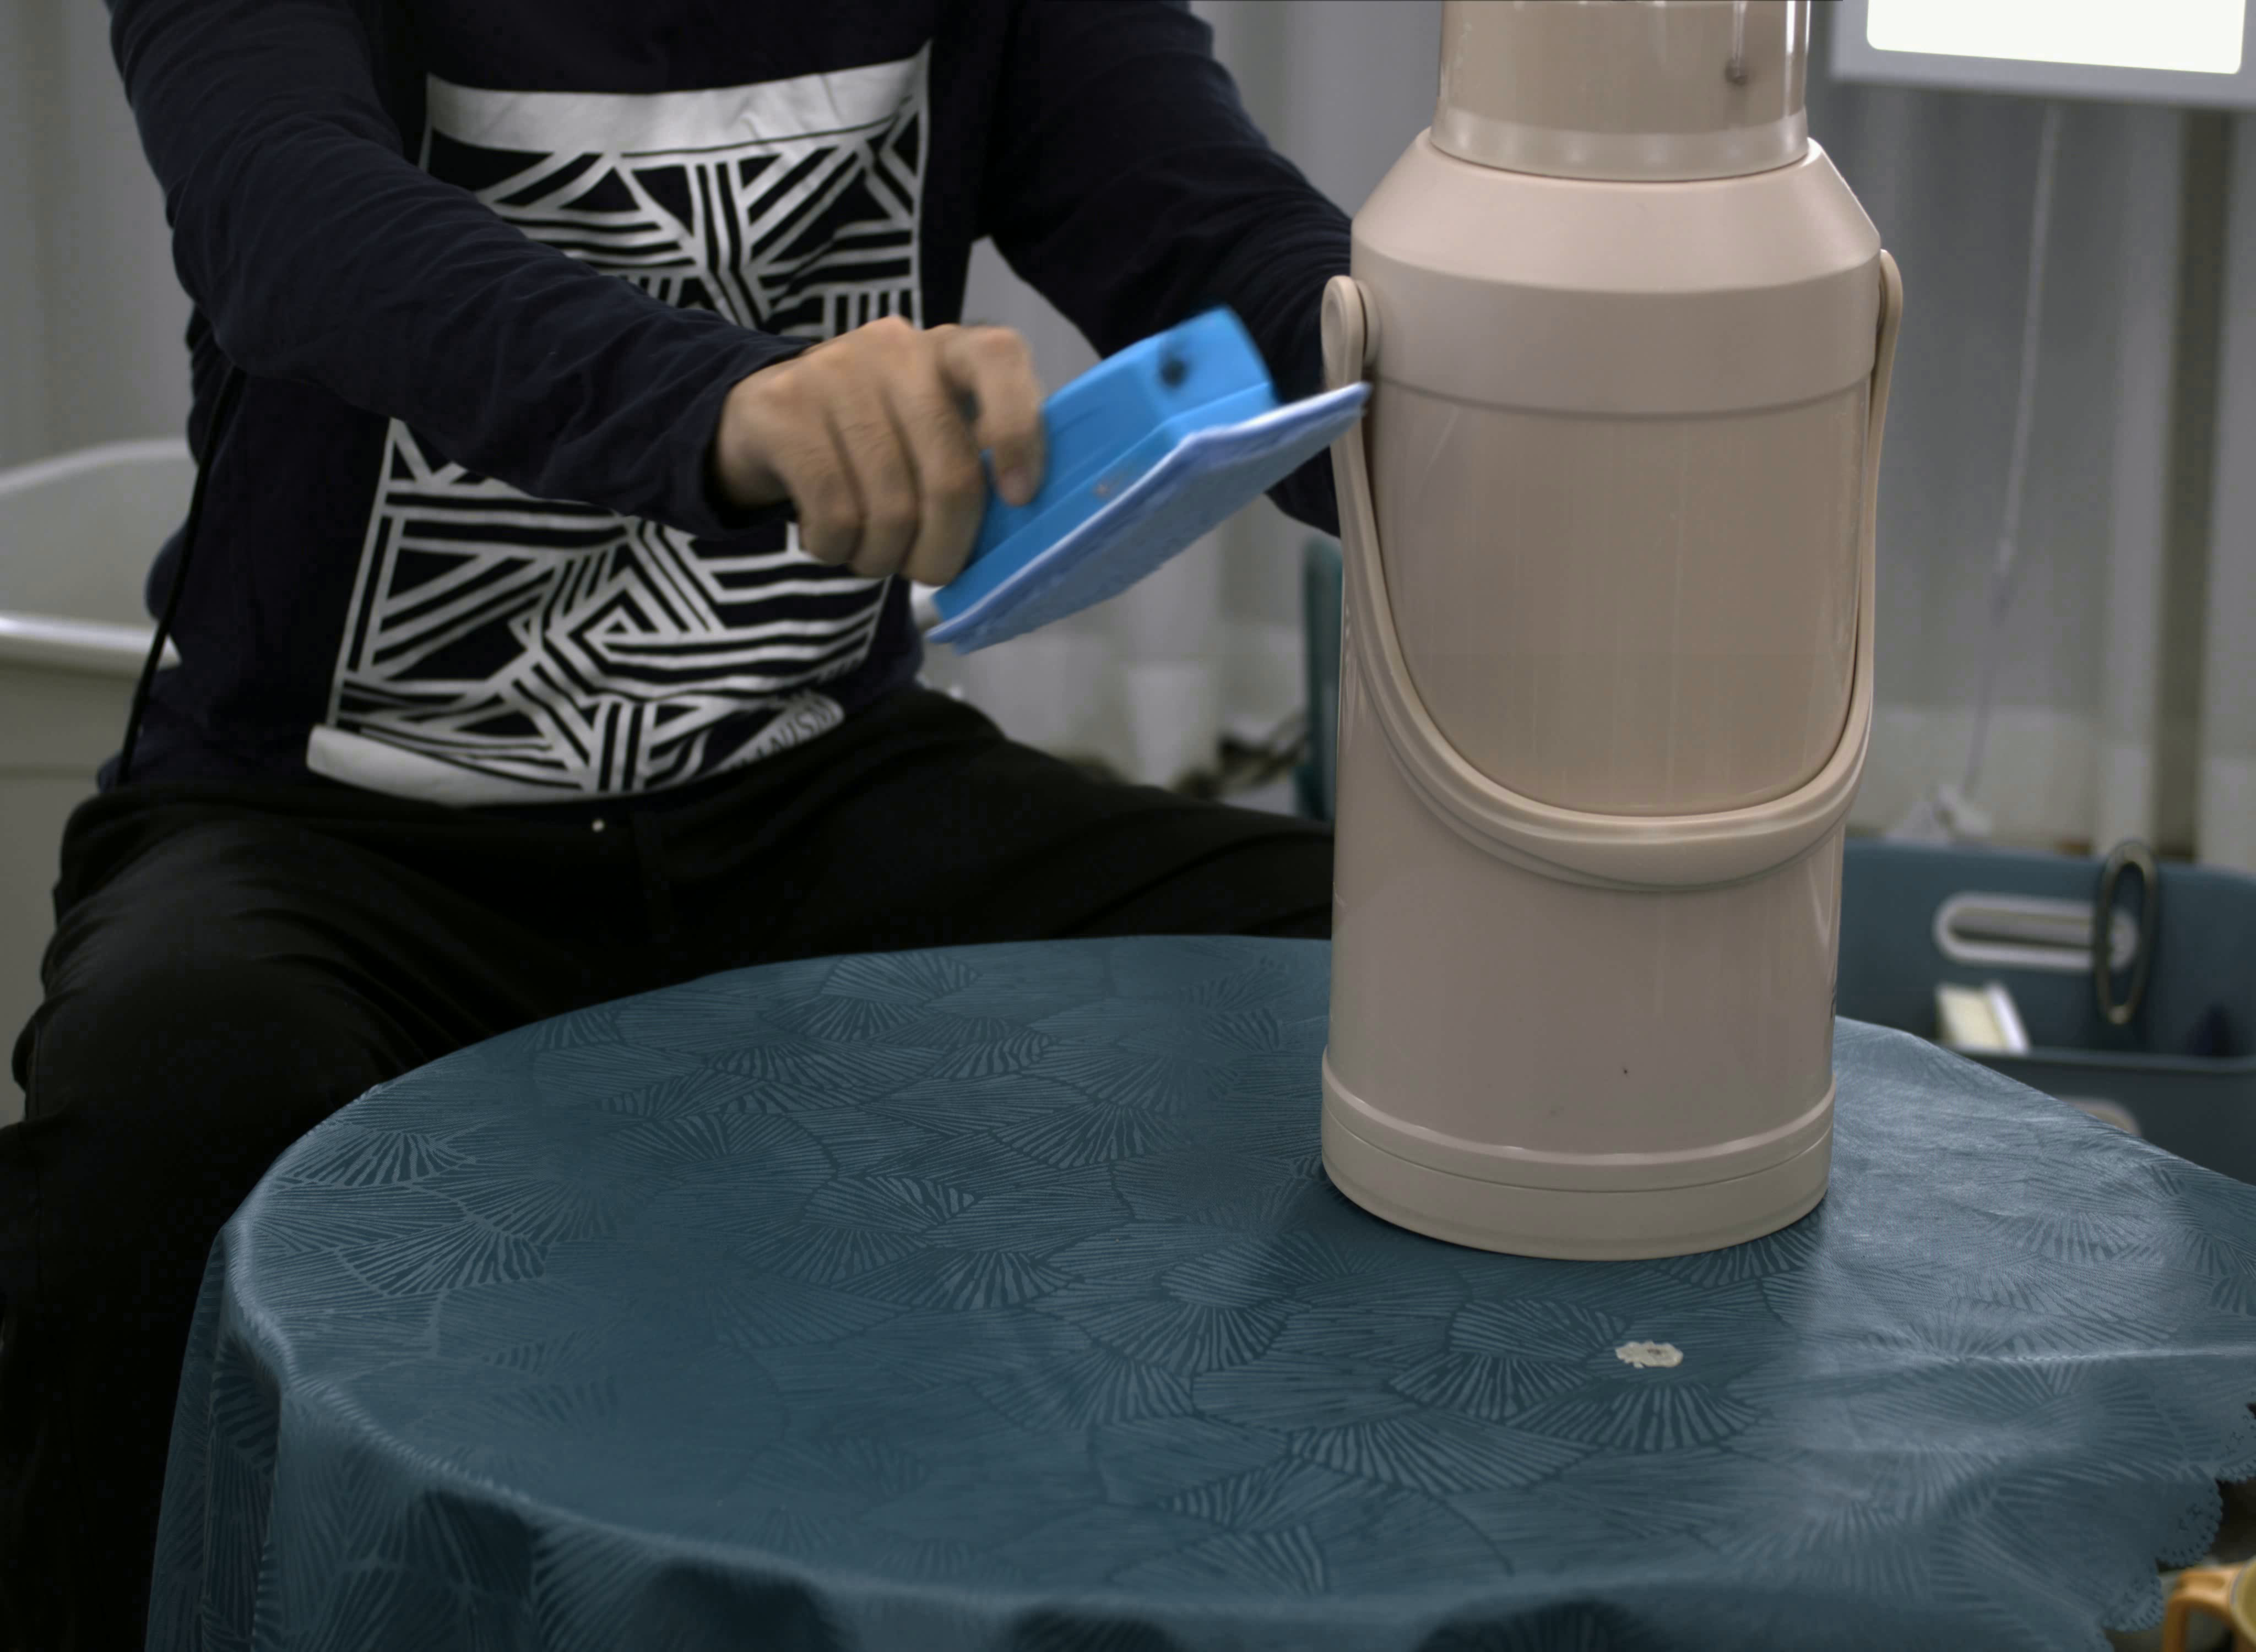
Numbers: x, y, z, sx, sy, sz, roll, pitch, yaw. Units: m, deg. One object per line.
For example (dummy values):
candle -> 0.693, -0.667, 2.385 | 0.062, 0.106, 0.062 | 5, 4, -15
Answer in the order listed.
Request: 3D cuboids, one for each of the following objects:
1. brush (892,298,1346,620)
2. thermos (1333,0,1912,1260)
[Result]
brush -> -0.008, -0.106, 1.478 | 0.084, 0.056, 0.143 | -18, -8, -41
thermos -> 0.143, -0.088, 1.590 | 0.175, 0.410, 0.205 | -7, 19, -16
